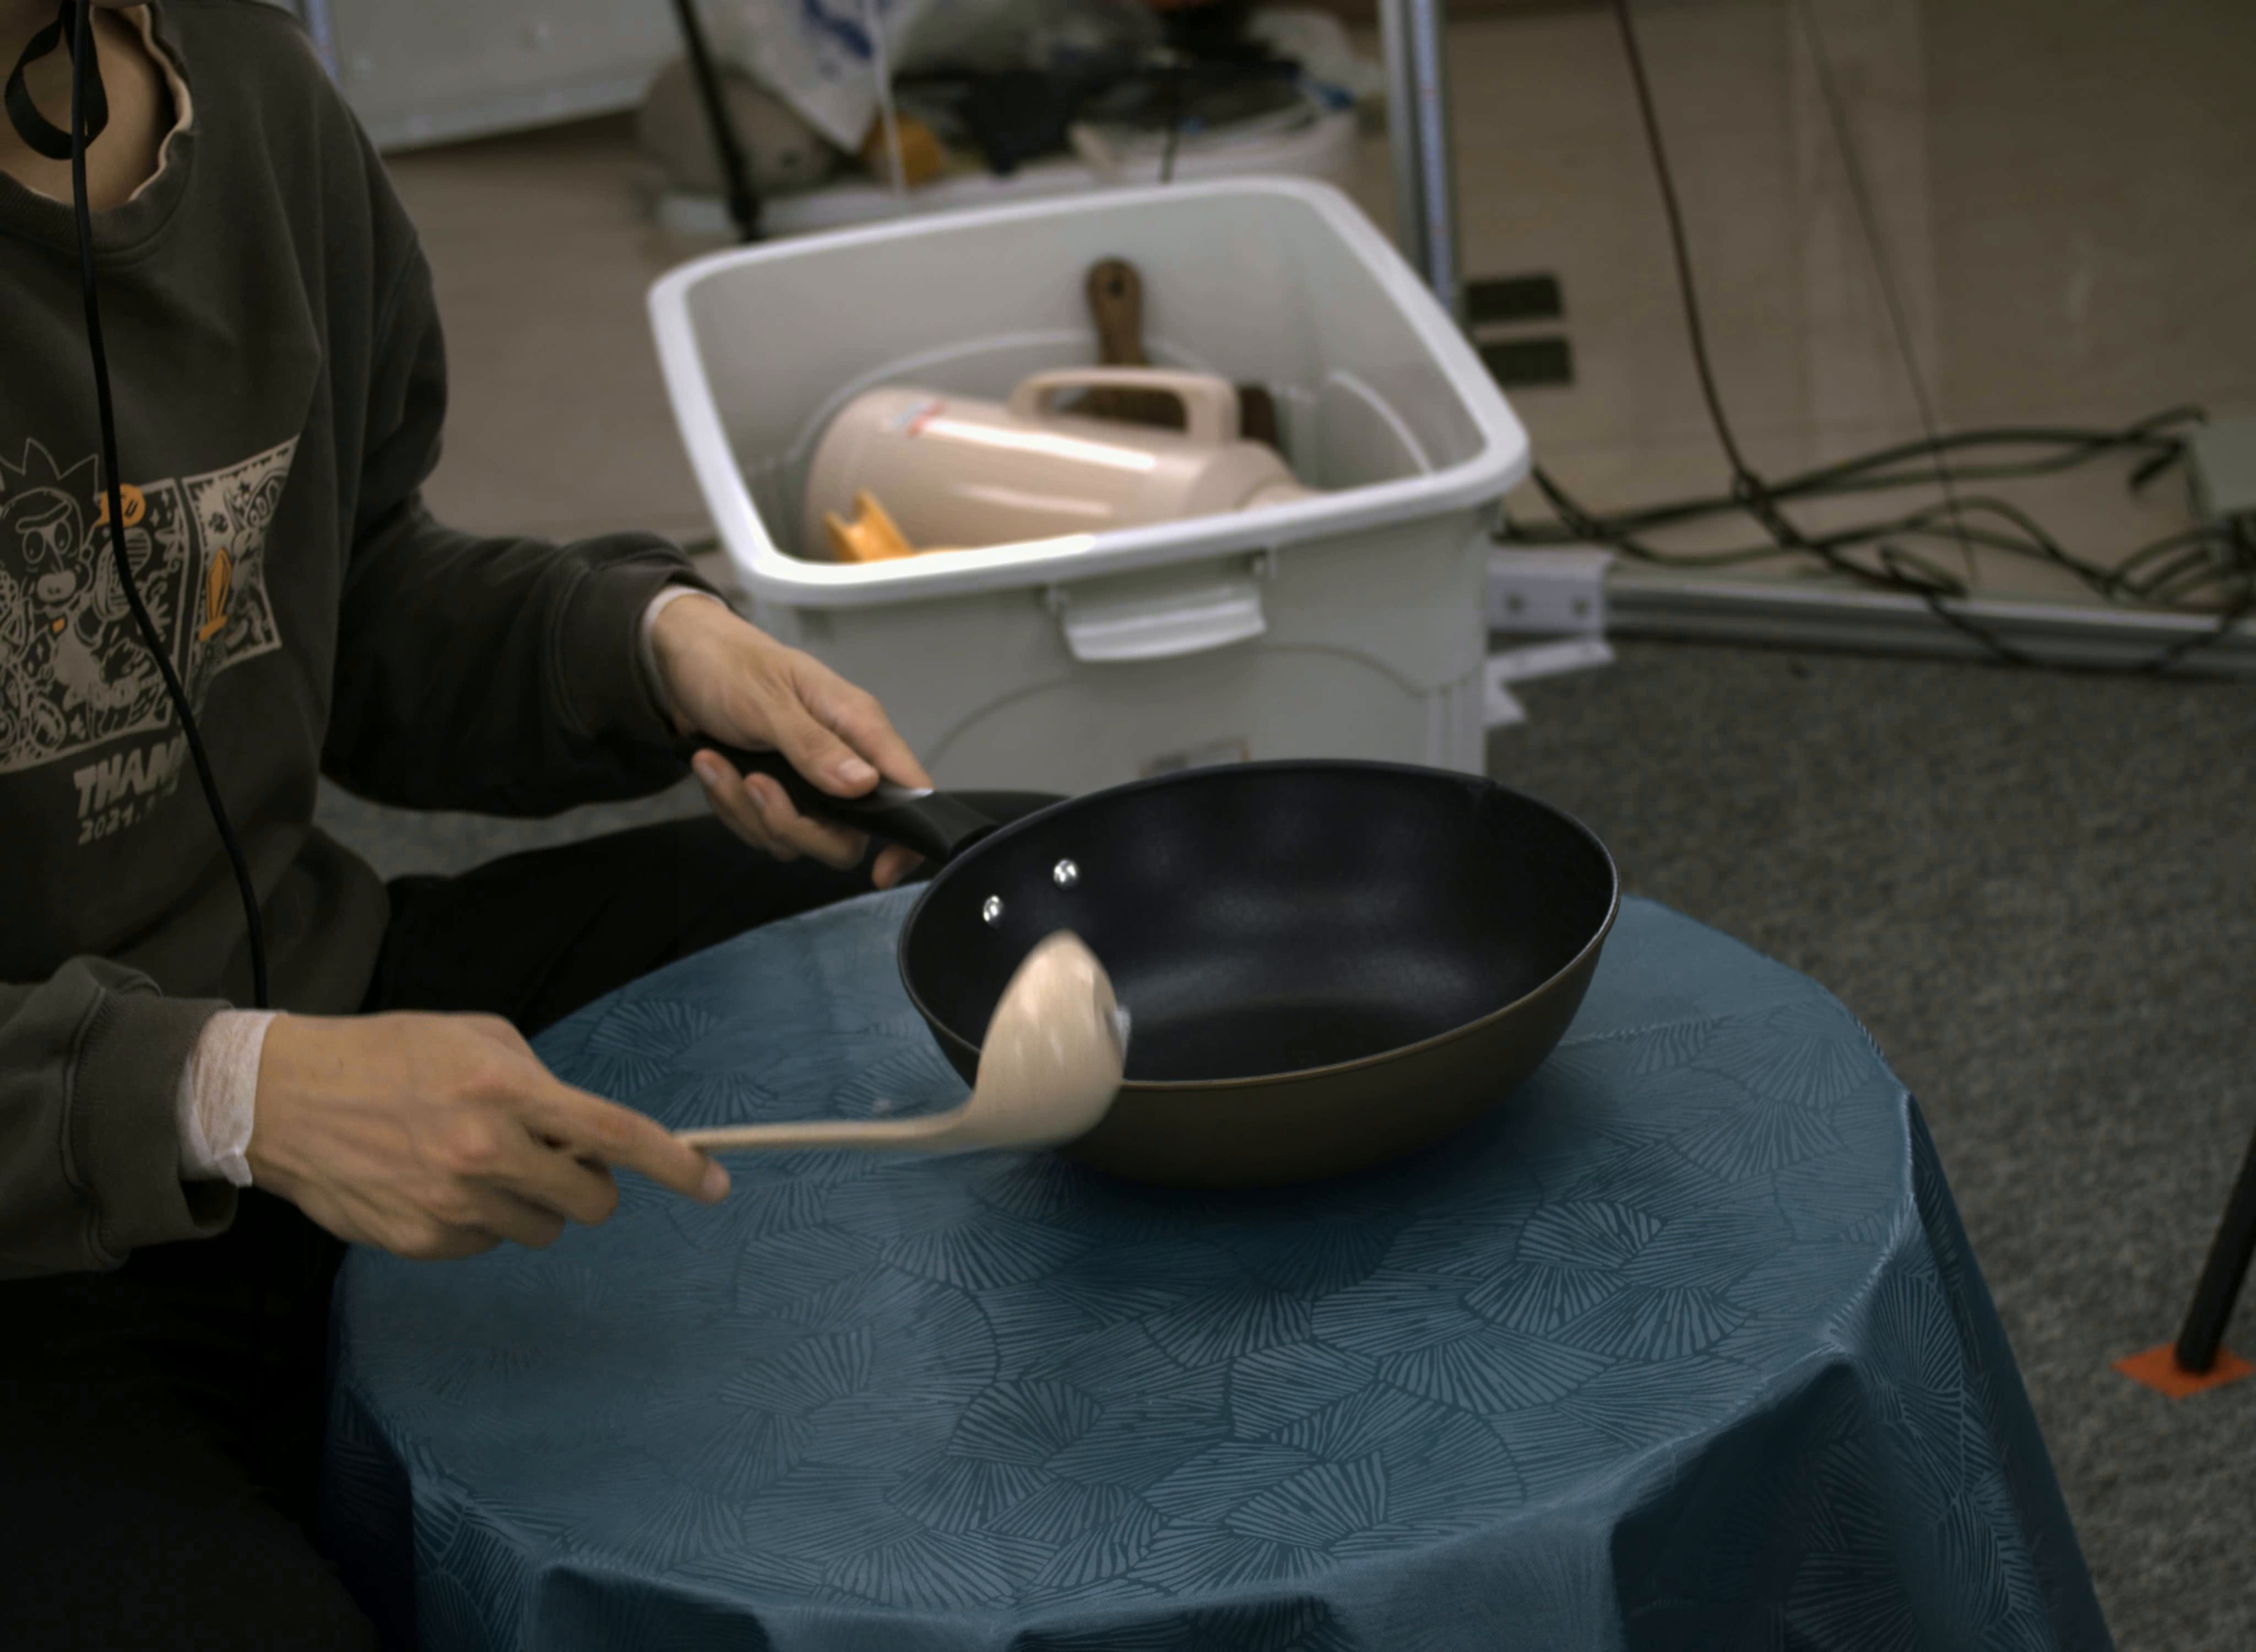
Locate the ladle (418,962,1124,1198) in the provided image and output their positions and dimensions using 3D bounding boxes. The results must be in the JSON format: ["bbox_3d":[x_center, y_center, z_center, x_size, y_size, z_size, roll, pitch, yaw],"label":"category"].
[{"bbox_3d":[-0.128,0.090,2.000,0.254,0.073,0.072,-3,71,13],"label":"ladle"}]

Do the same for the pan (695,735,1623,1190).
[{"bbox_3d":[-0.012,0.048,2.245,0.460,0.088,0.285,16,34,41],"label":"pan"}]
